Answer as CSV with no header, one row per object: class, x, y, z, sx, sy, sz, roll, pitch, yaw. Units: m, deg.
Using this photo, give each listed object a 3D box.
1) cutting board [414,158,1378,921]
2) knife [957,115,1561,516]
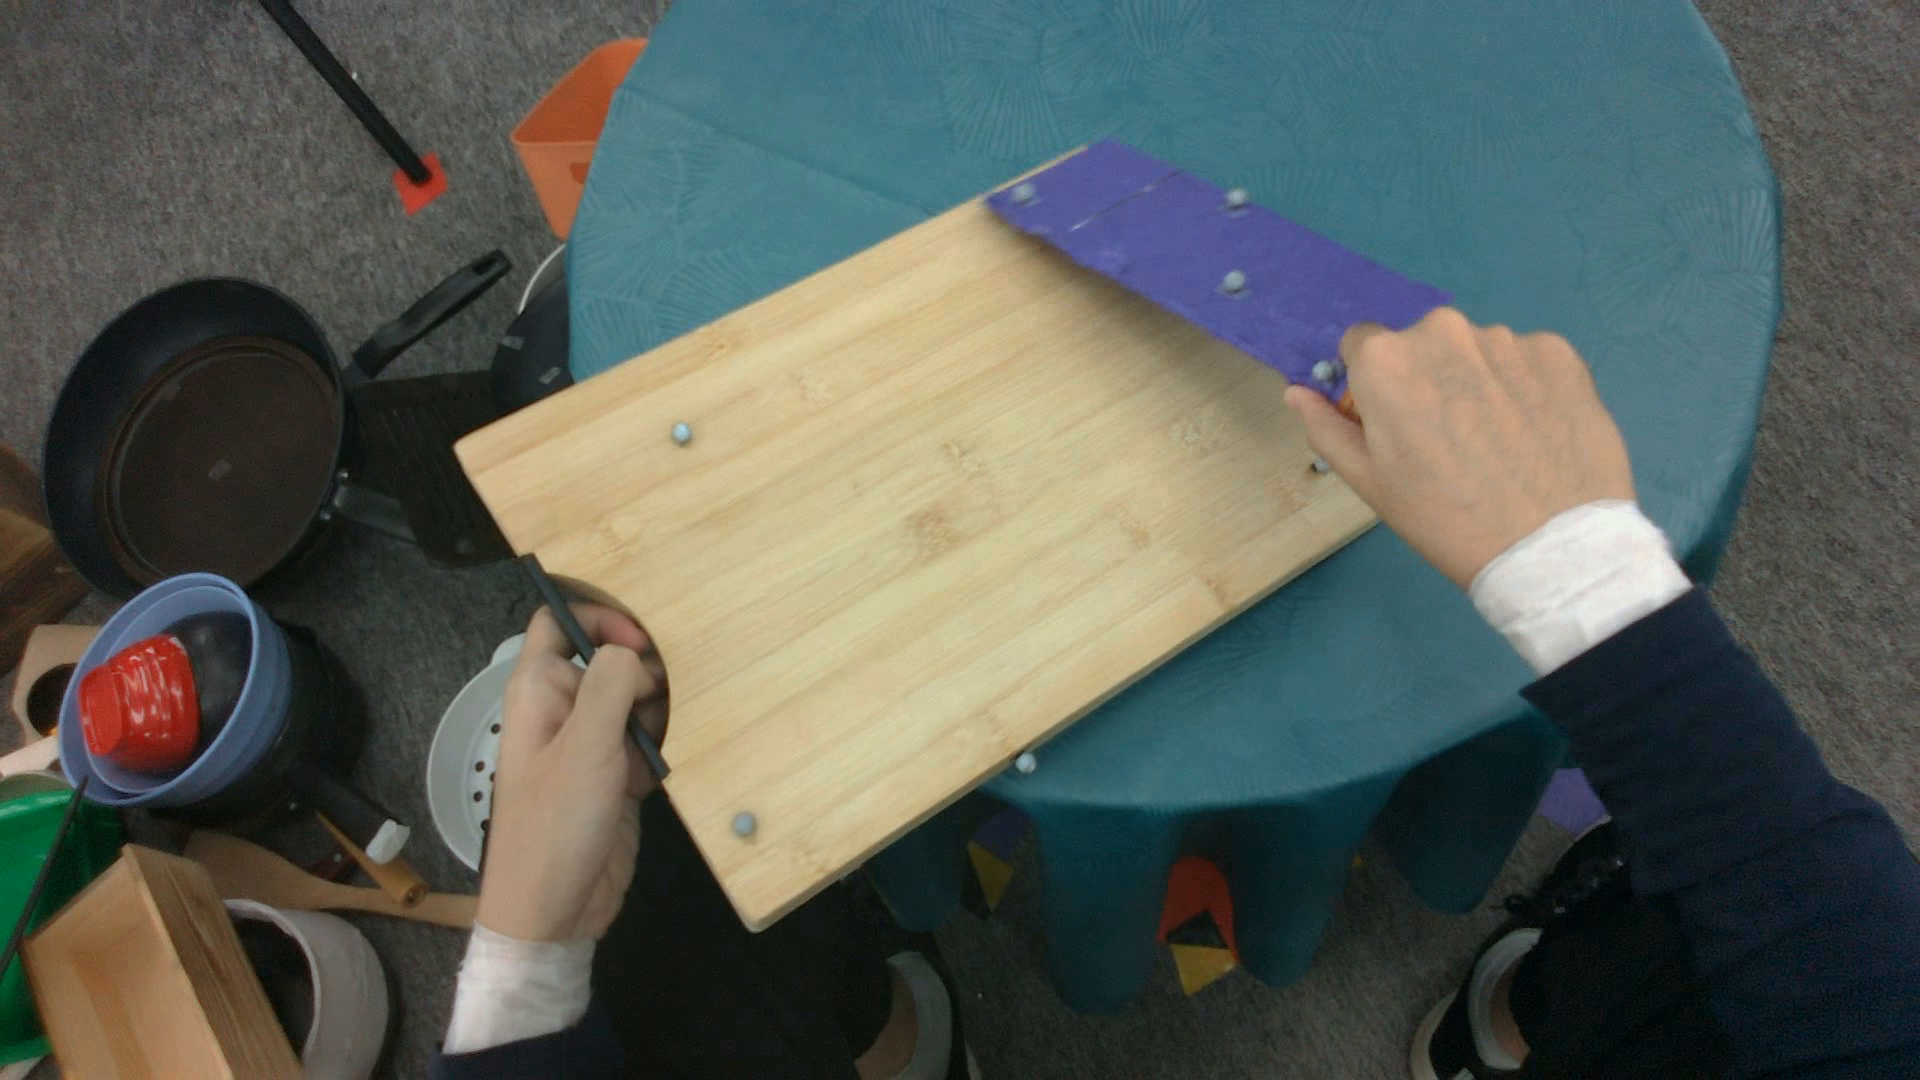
cutting board,-0.019,-0.031,0.602,0.350,0.023,0.251,-31,69,-21
knife,0.132,-0.117,0.589,0.104,0.032,0.315,-31,51,-24
